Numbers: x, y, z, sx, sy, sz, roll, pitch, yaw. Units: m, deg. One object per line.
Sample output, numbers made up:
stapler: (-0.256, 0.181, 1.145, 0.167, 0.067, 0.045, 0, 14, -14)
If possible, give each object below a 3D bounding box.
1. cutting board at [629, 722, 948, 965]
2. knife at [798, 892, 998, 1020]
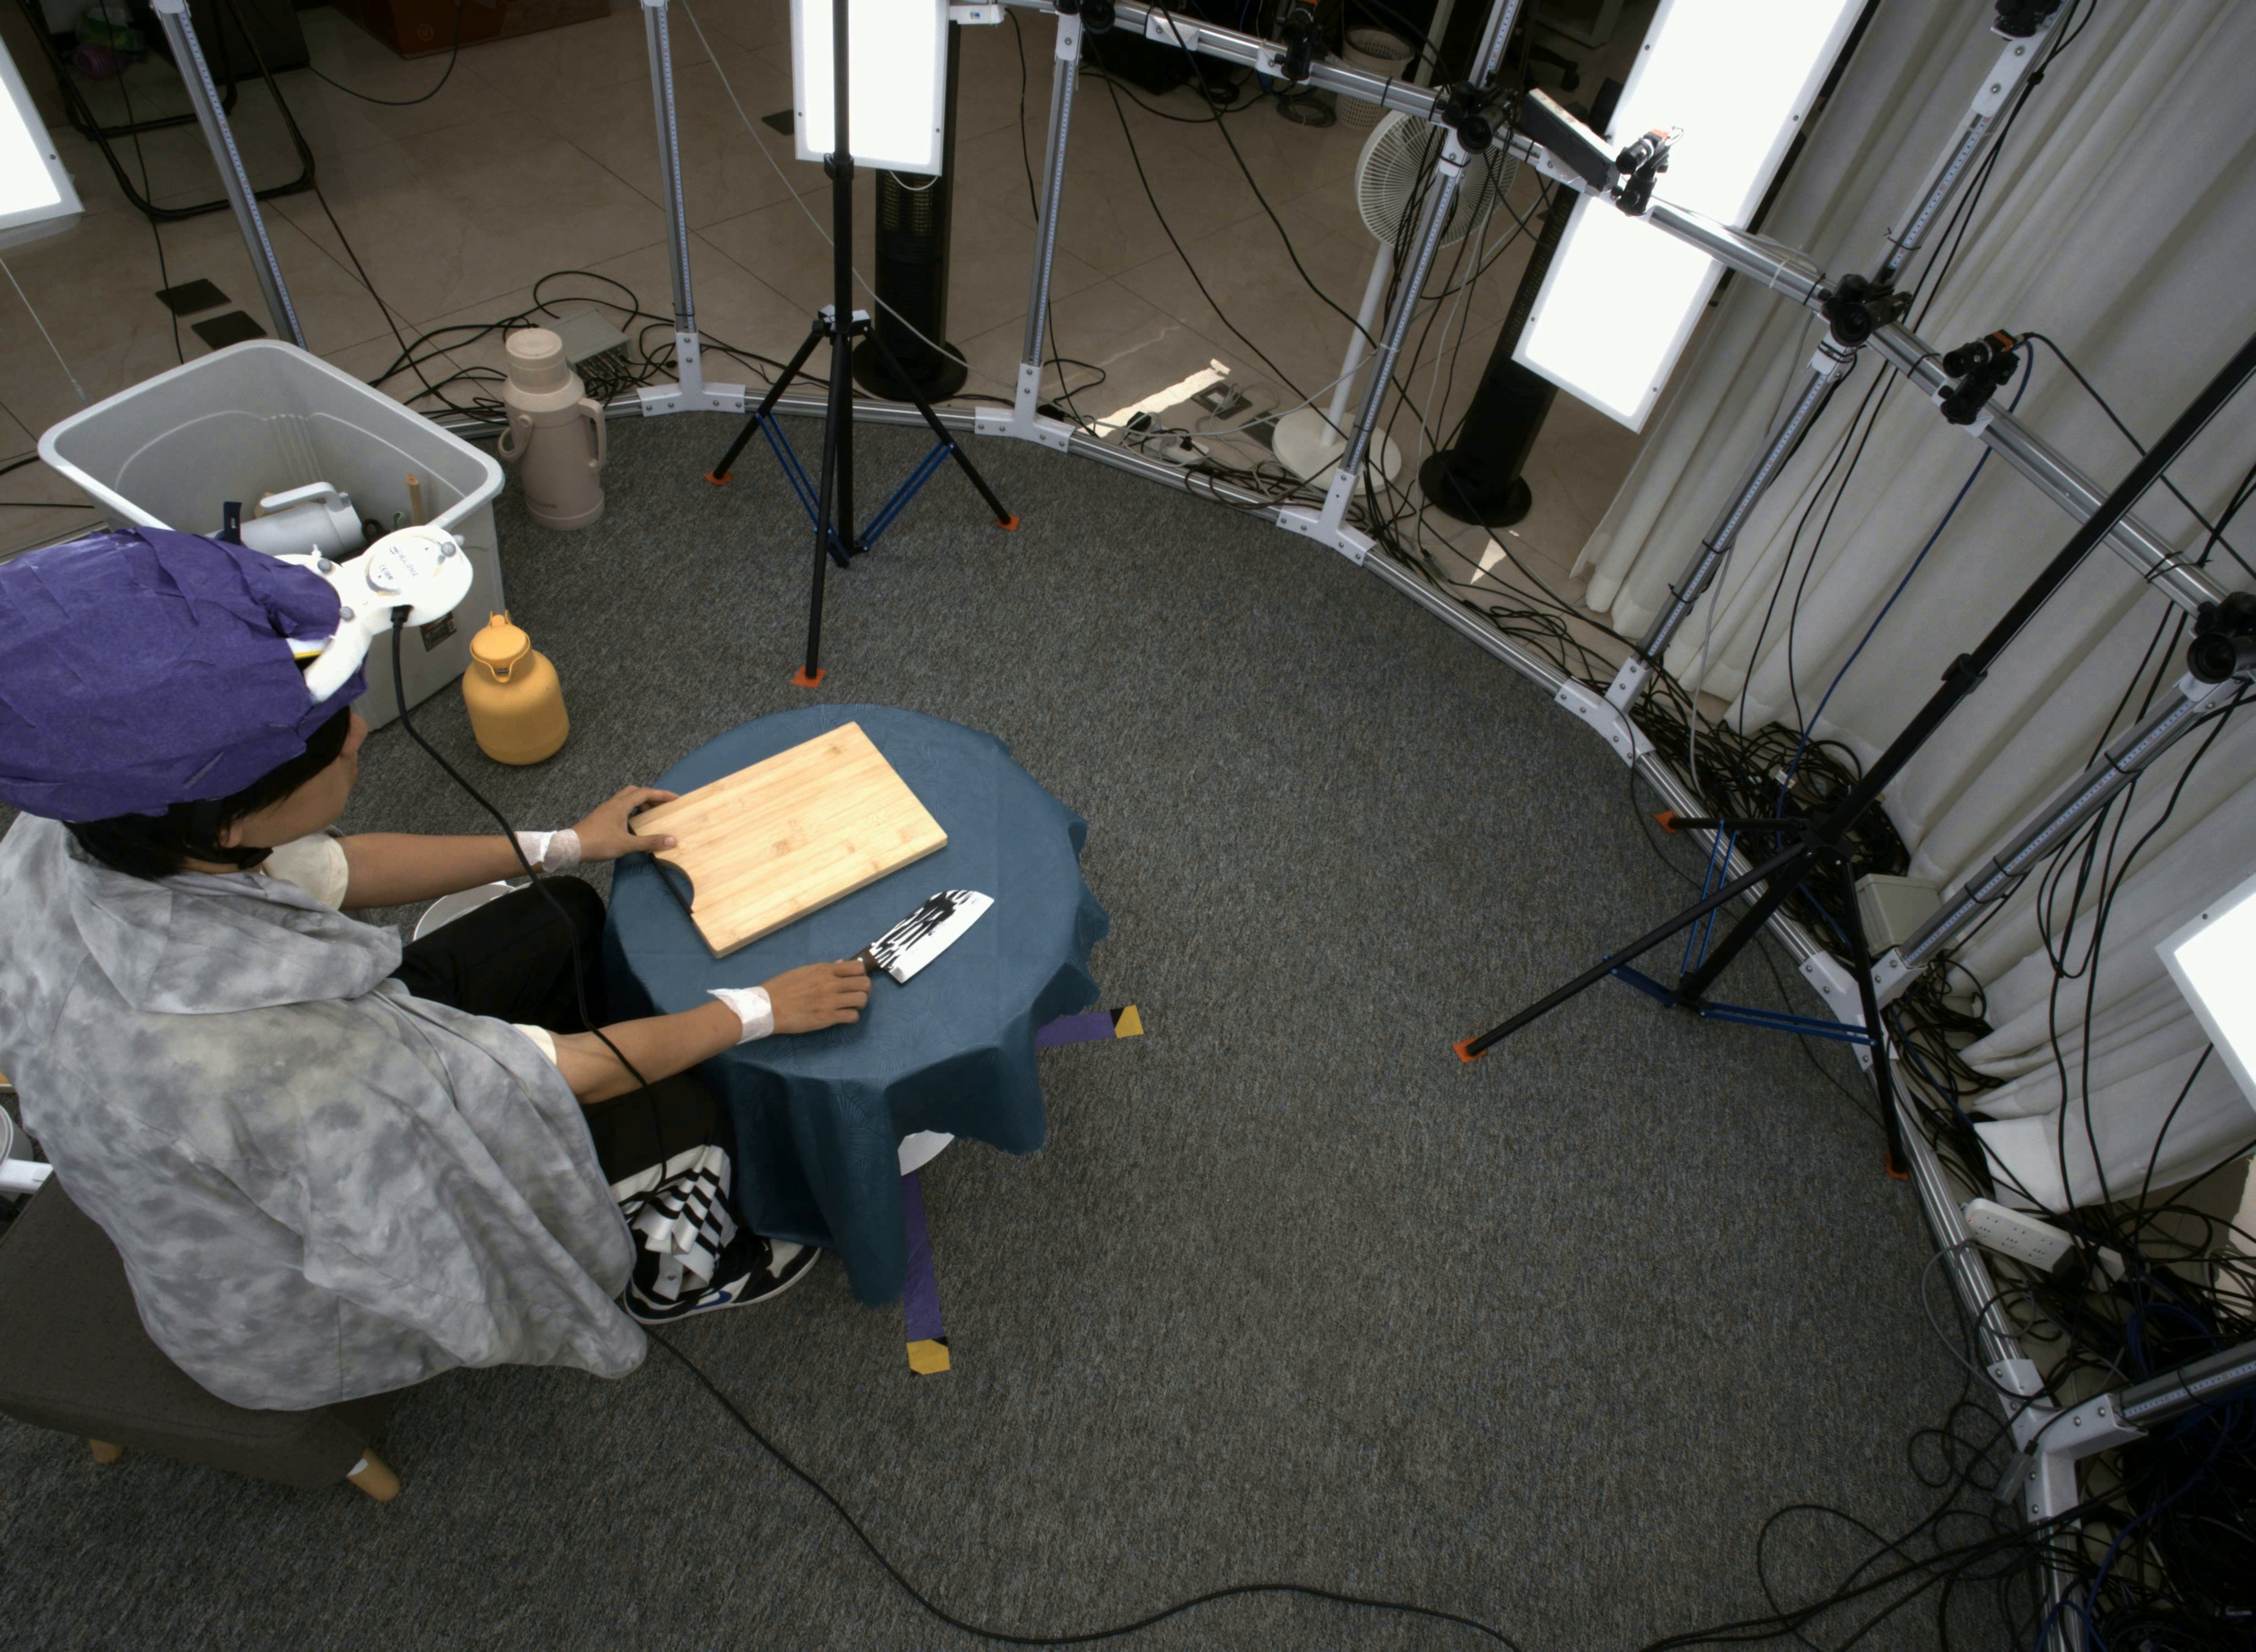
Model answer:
cutting board: (-0.442, 0.011, 1.703, 0.350, 0.024, 0.244, -29, 65, -30)
knife: (-0.282, 0.160, 1.630, 0.067, 0.024, 0.300, 41, 53, 14)
